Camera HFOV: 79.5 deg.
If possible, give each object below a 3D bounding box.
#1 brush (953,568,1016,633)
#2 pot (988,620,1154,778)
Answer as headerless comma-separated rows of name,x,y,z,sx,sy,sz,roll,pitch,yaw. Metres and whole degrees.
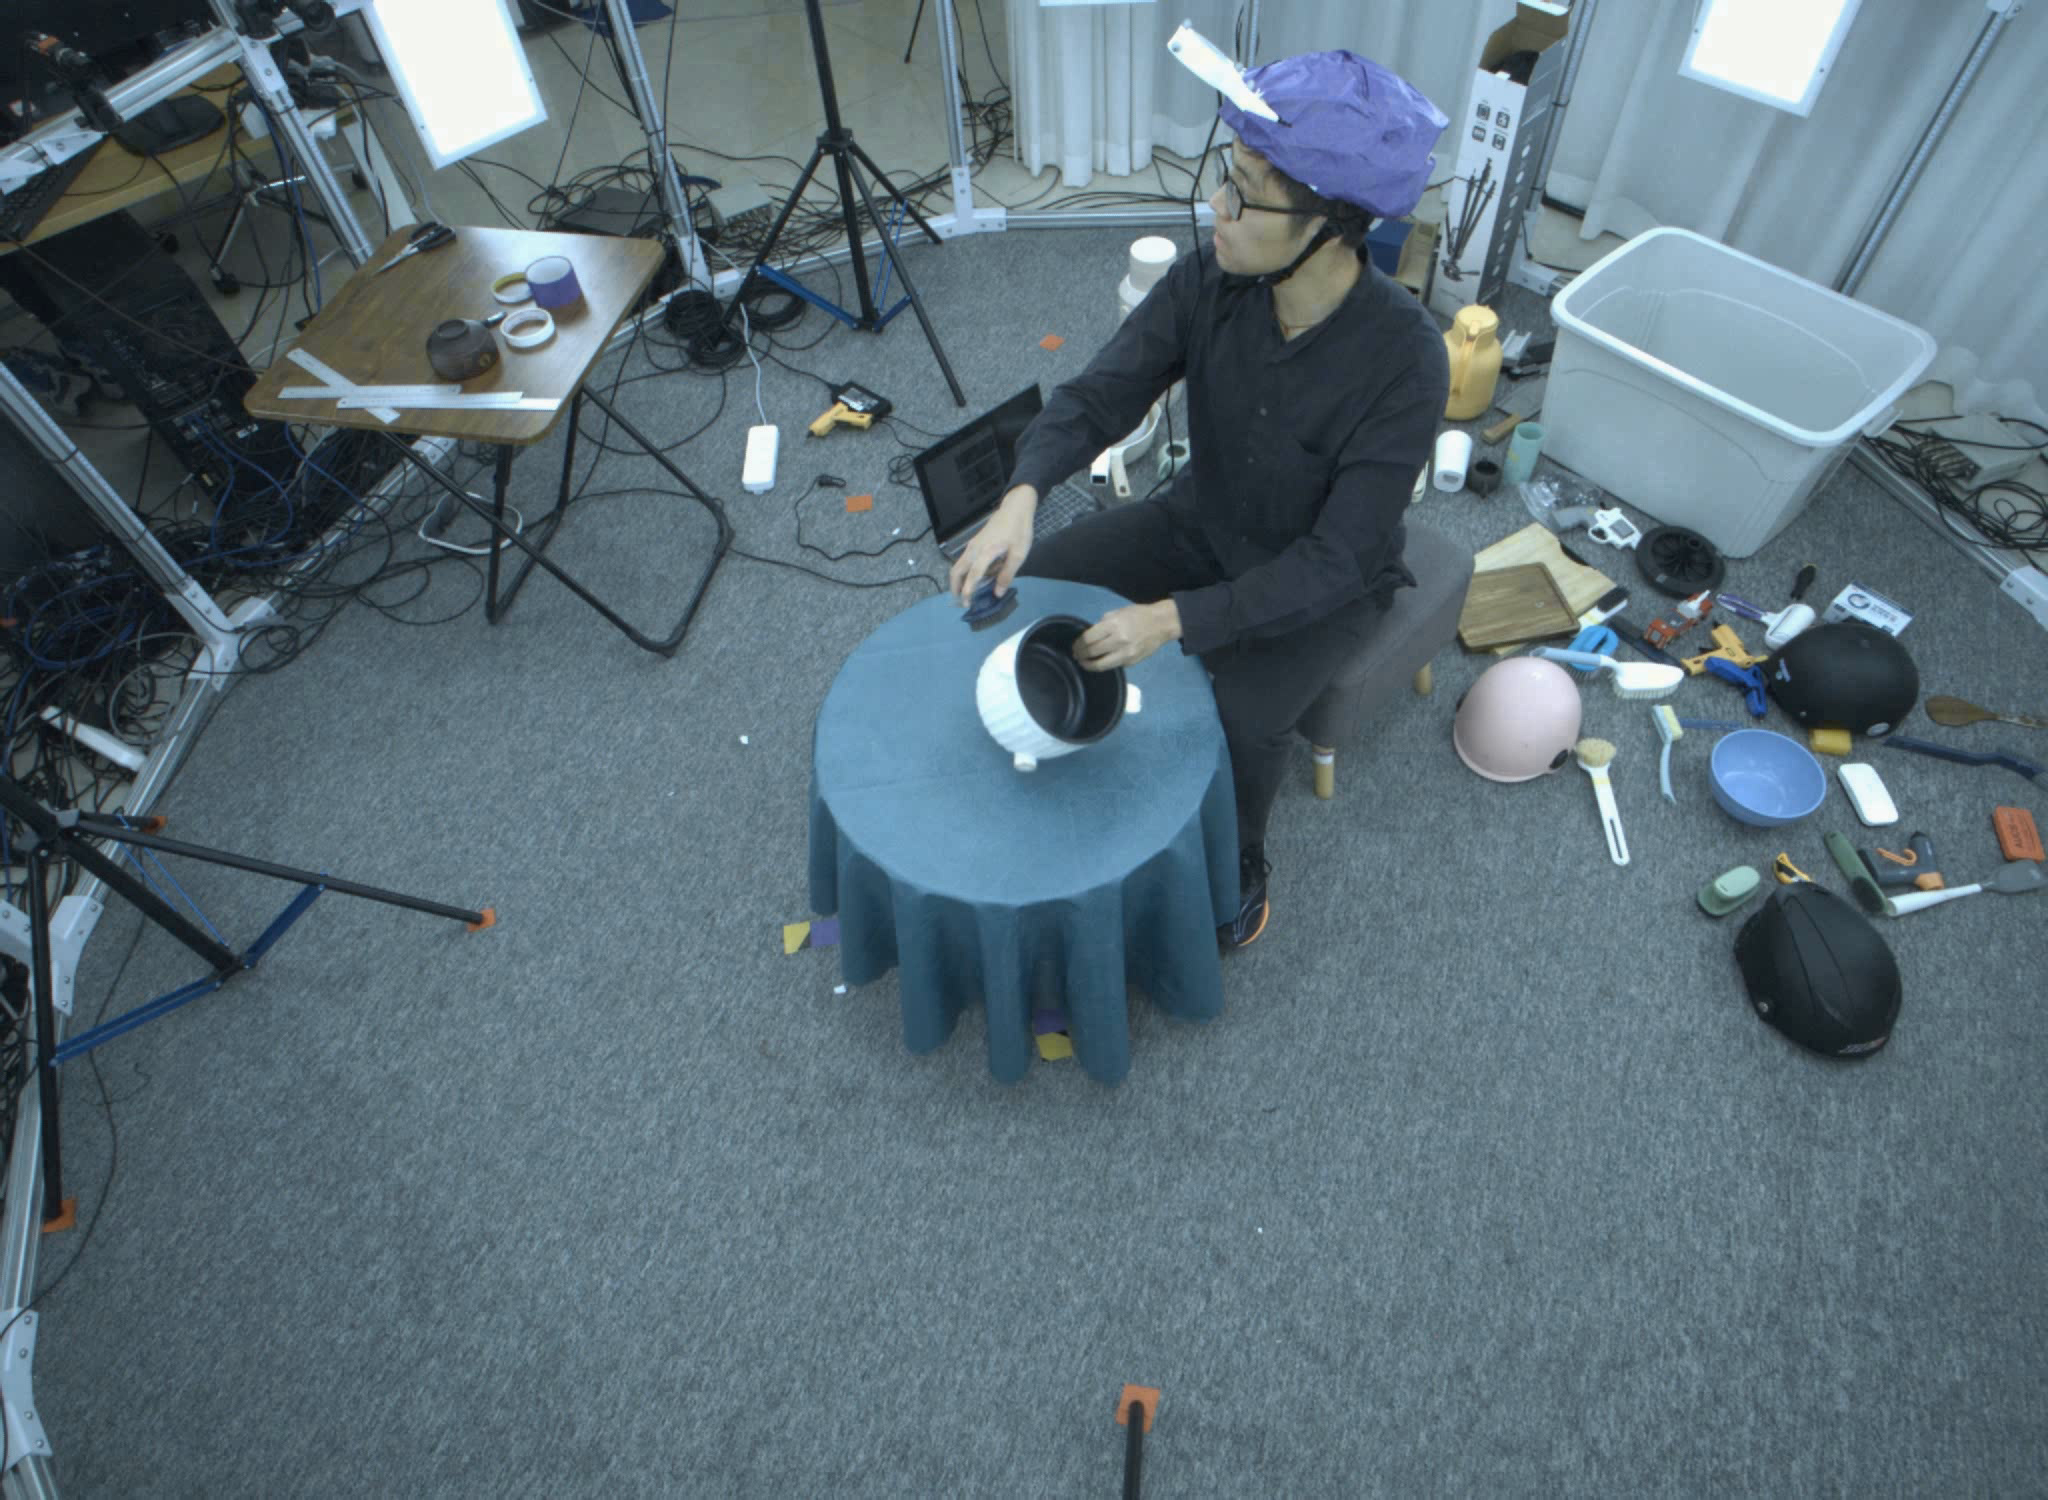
brush,-0.053,-0.208,1.715,0.067,0.062,0.122,-15,22,27
pot,0.047,-0.066,1.693,0.245,0.140,0.189,13,68,-30
